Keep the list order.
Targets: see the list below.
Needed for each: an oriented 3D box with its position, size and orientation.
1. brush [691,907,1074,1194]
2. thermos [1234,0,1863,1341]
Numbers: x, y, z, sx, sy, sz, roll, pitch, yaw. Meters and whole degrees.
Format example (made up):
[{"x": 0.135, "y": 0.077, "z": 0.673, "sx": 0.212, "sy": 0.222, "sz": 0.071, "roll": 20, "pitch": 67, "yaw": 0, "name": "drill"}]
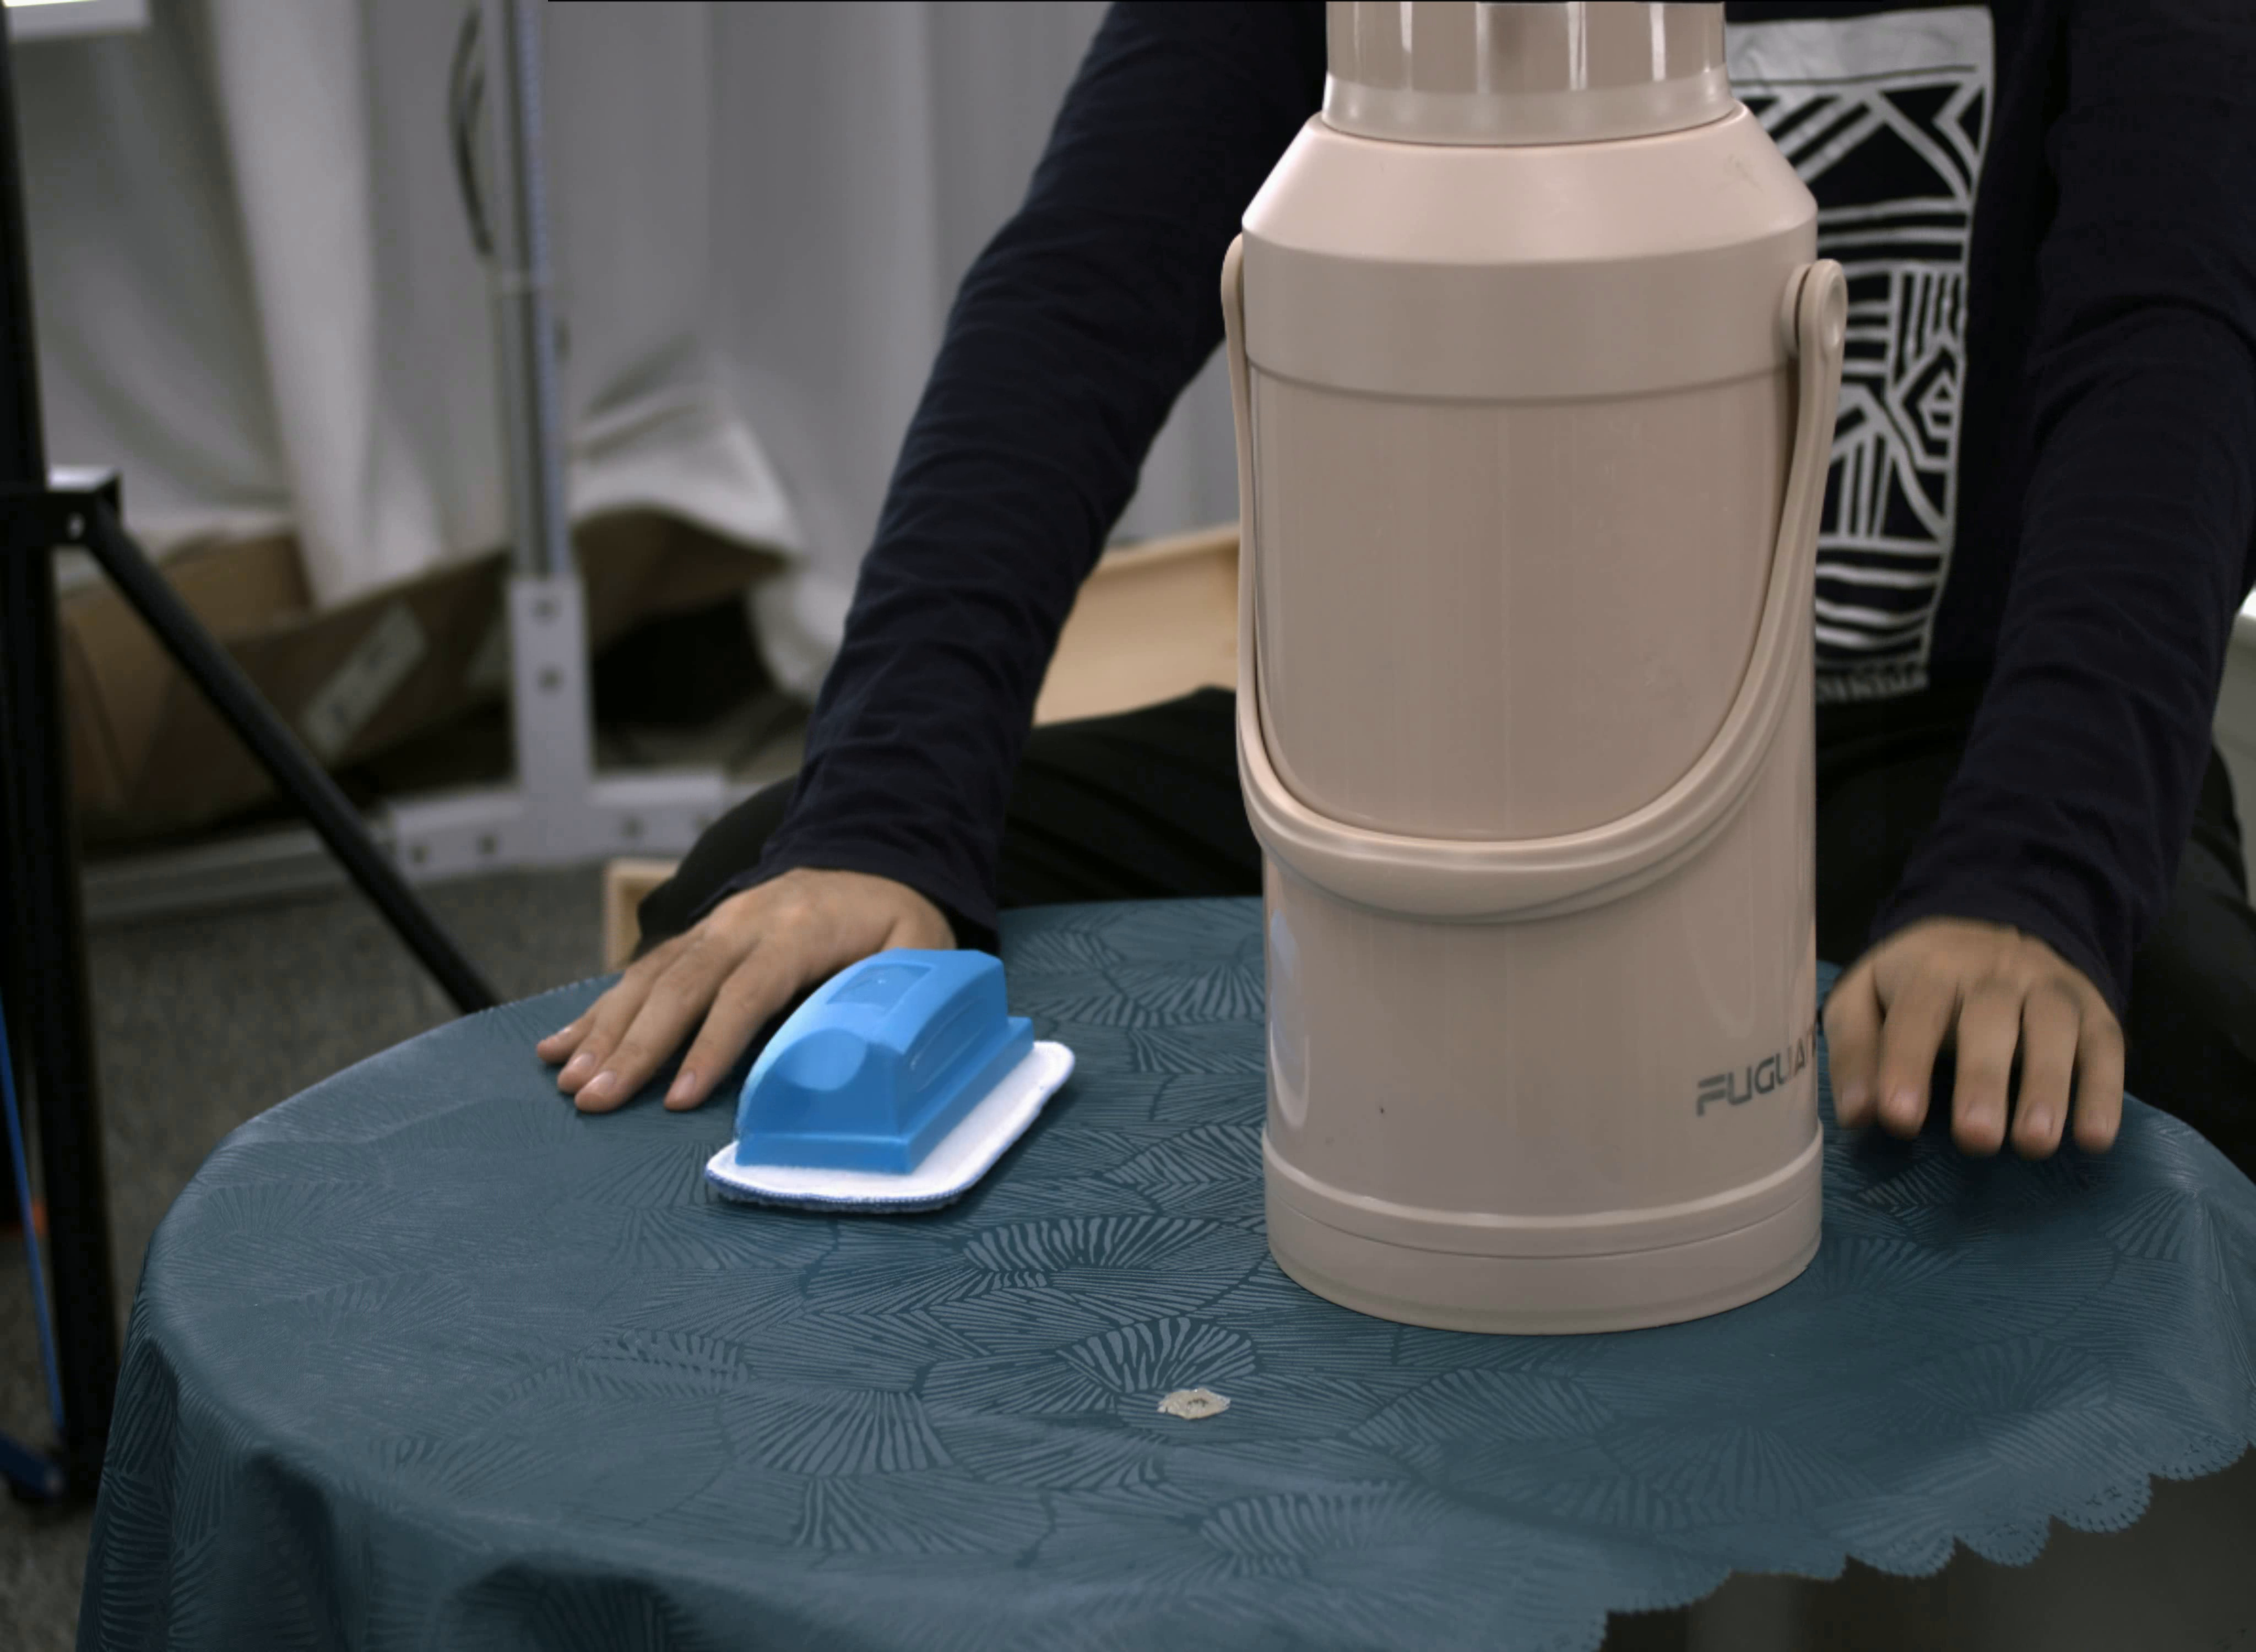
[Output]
[{"x": -0.073, "y": 0.064, "z": 1.613, "sx": 0.085, "sy": 0.056, "sz": 0.142, "roll": 6, "pitch": 20, "yaw": 18, "name": "brush"}, {"x": 0.122, "y": -0.076, "z": 1.466, "sx": 0.178, "sy": 0.406, "sz": 0.204, "roll": 4, "pitch": 15, "yaw": 26, "name": "thermos"}]
